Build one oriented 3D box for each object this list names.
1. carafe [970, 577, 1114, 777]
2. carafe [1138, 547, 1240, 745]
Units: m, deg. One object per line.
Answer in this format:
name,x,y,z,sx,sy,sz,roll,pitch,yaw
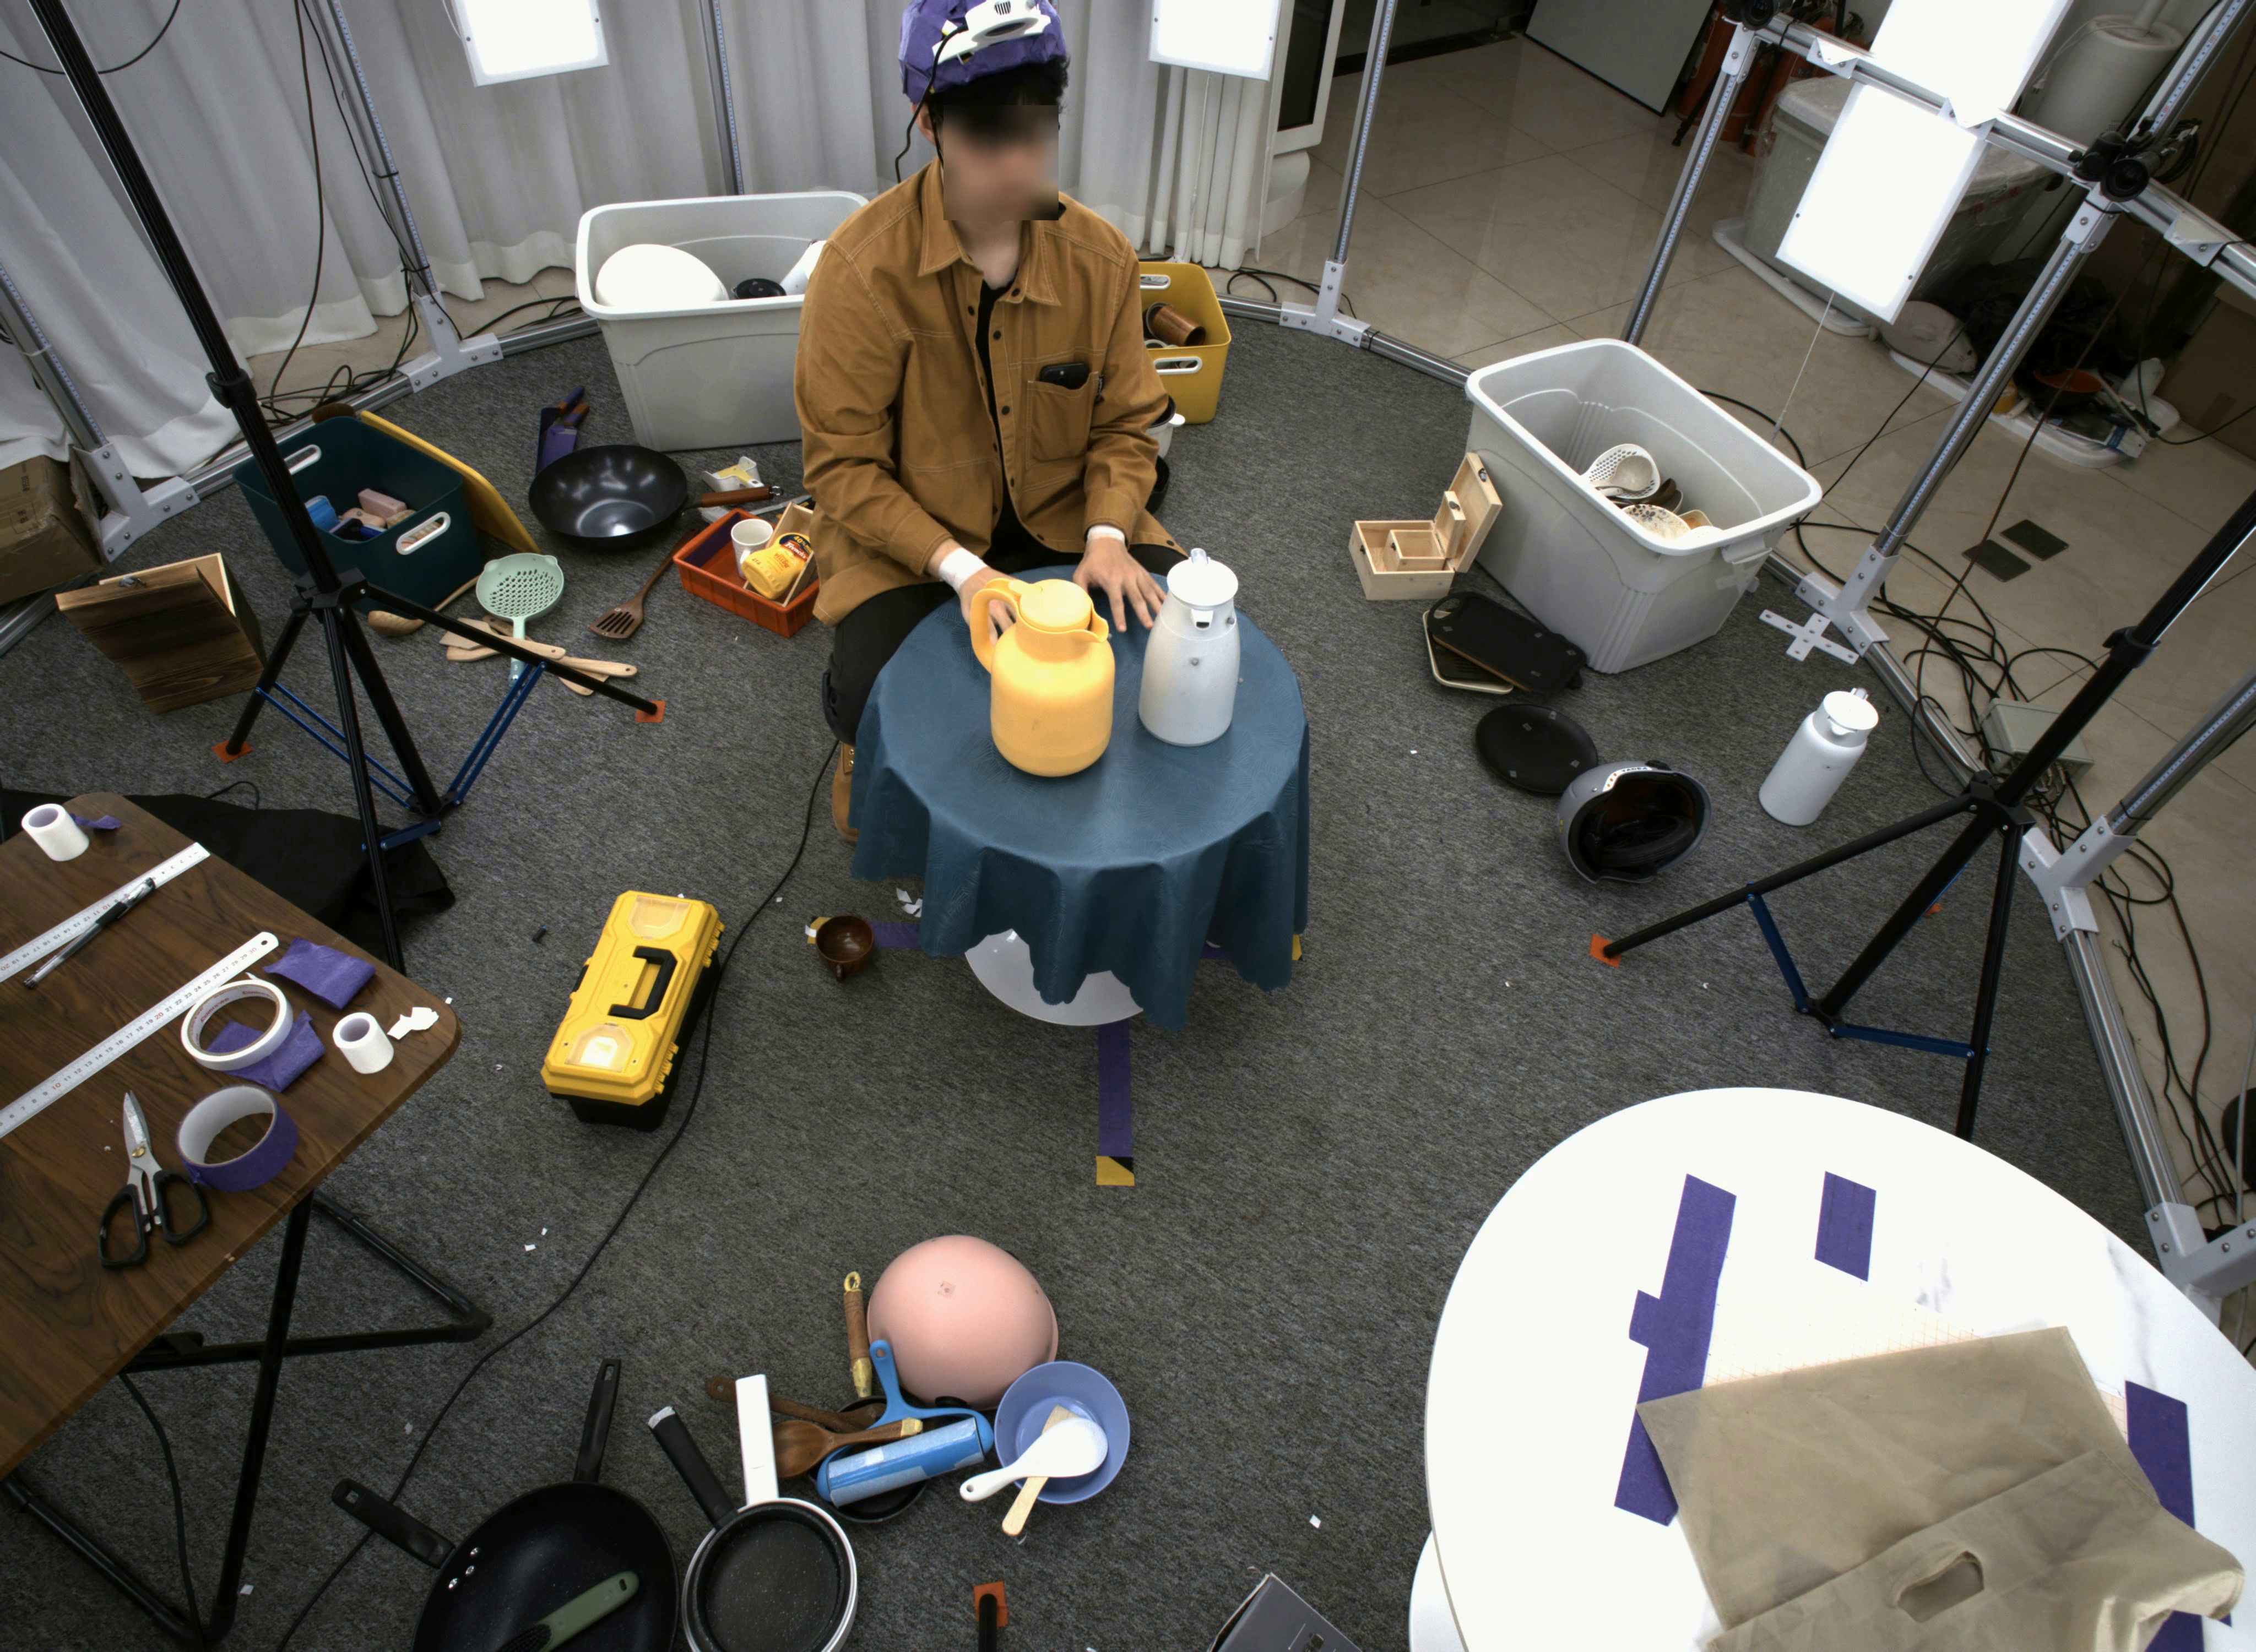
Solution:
carafe,-0.115,-0.206,1.673,0.204,0.254,0.166,29,51,18
carafe,0.086,-0.254,1.734,0.132,0.242,0.172,2,49,-2
